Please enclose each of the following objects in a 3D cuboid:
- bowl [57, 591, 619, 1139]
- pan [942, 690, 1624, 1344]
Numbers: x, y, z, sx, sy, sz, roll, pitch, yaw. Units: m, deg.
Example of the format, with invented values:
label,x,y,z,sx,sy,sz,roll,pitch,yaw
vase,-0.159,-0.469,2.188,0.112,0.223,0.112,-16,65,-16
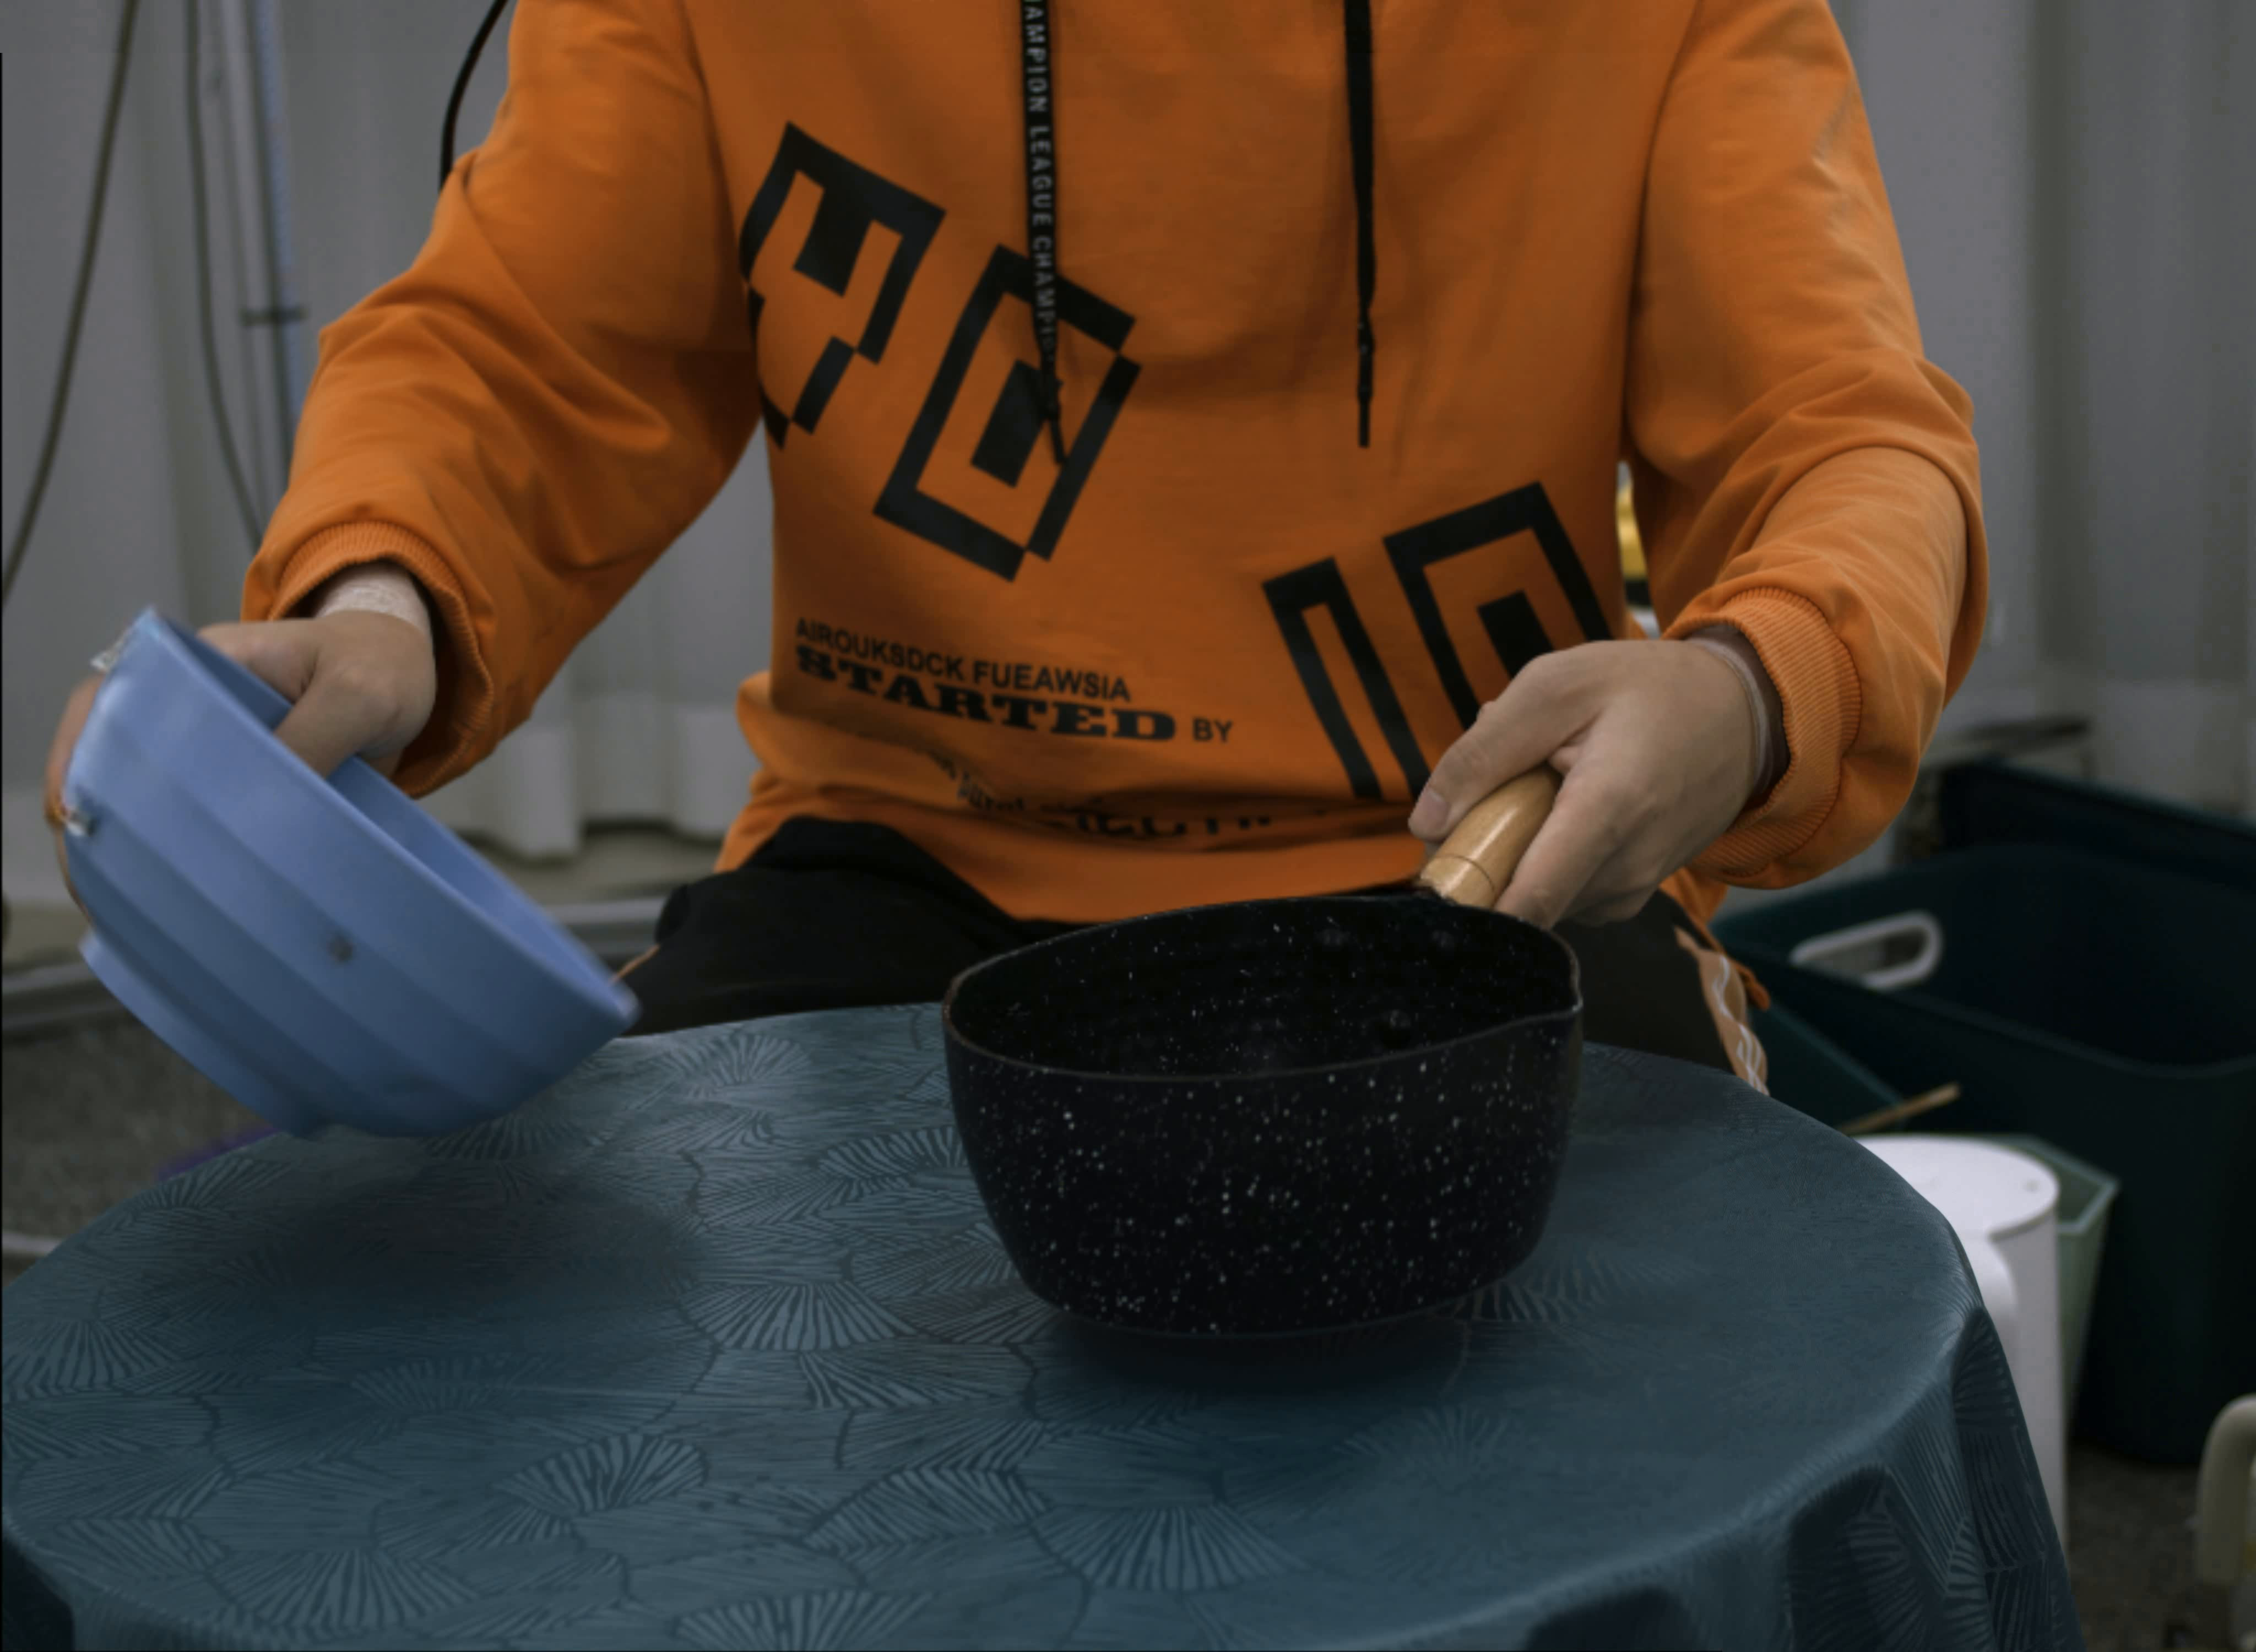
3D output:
label,x,y,z,sx,sy,sz,roll,pitch,yaw
bowl,-0.258,0.029,1.674,0.095,0.195,0.198,-46,22,-2
pan,0.076,0.053,1.650,0.208,0.108,0.343,0,16,27
